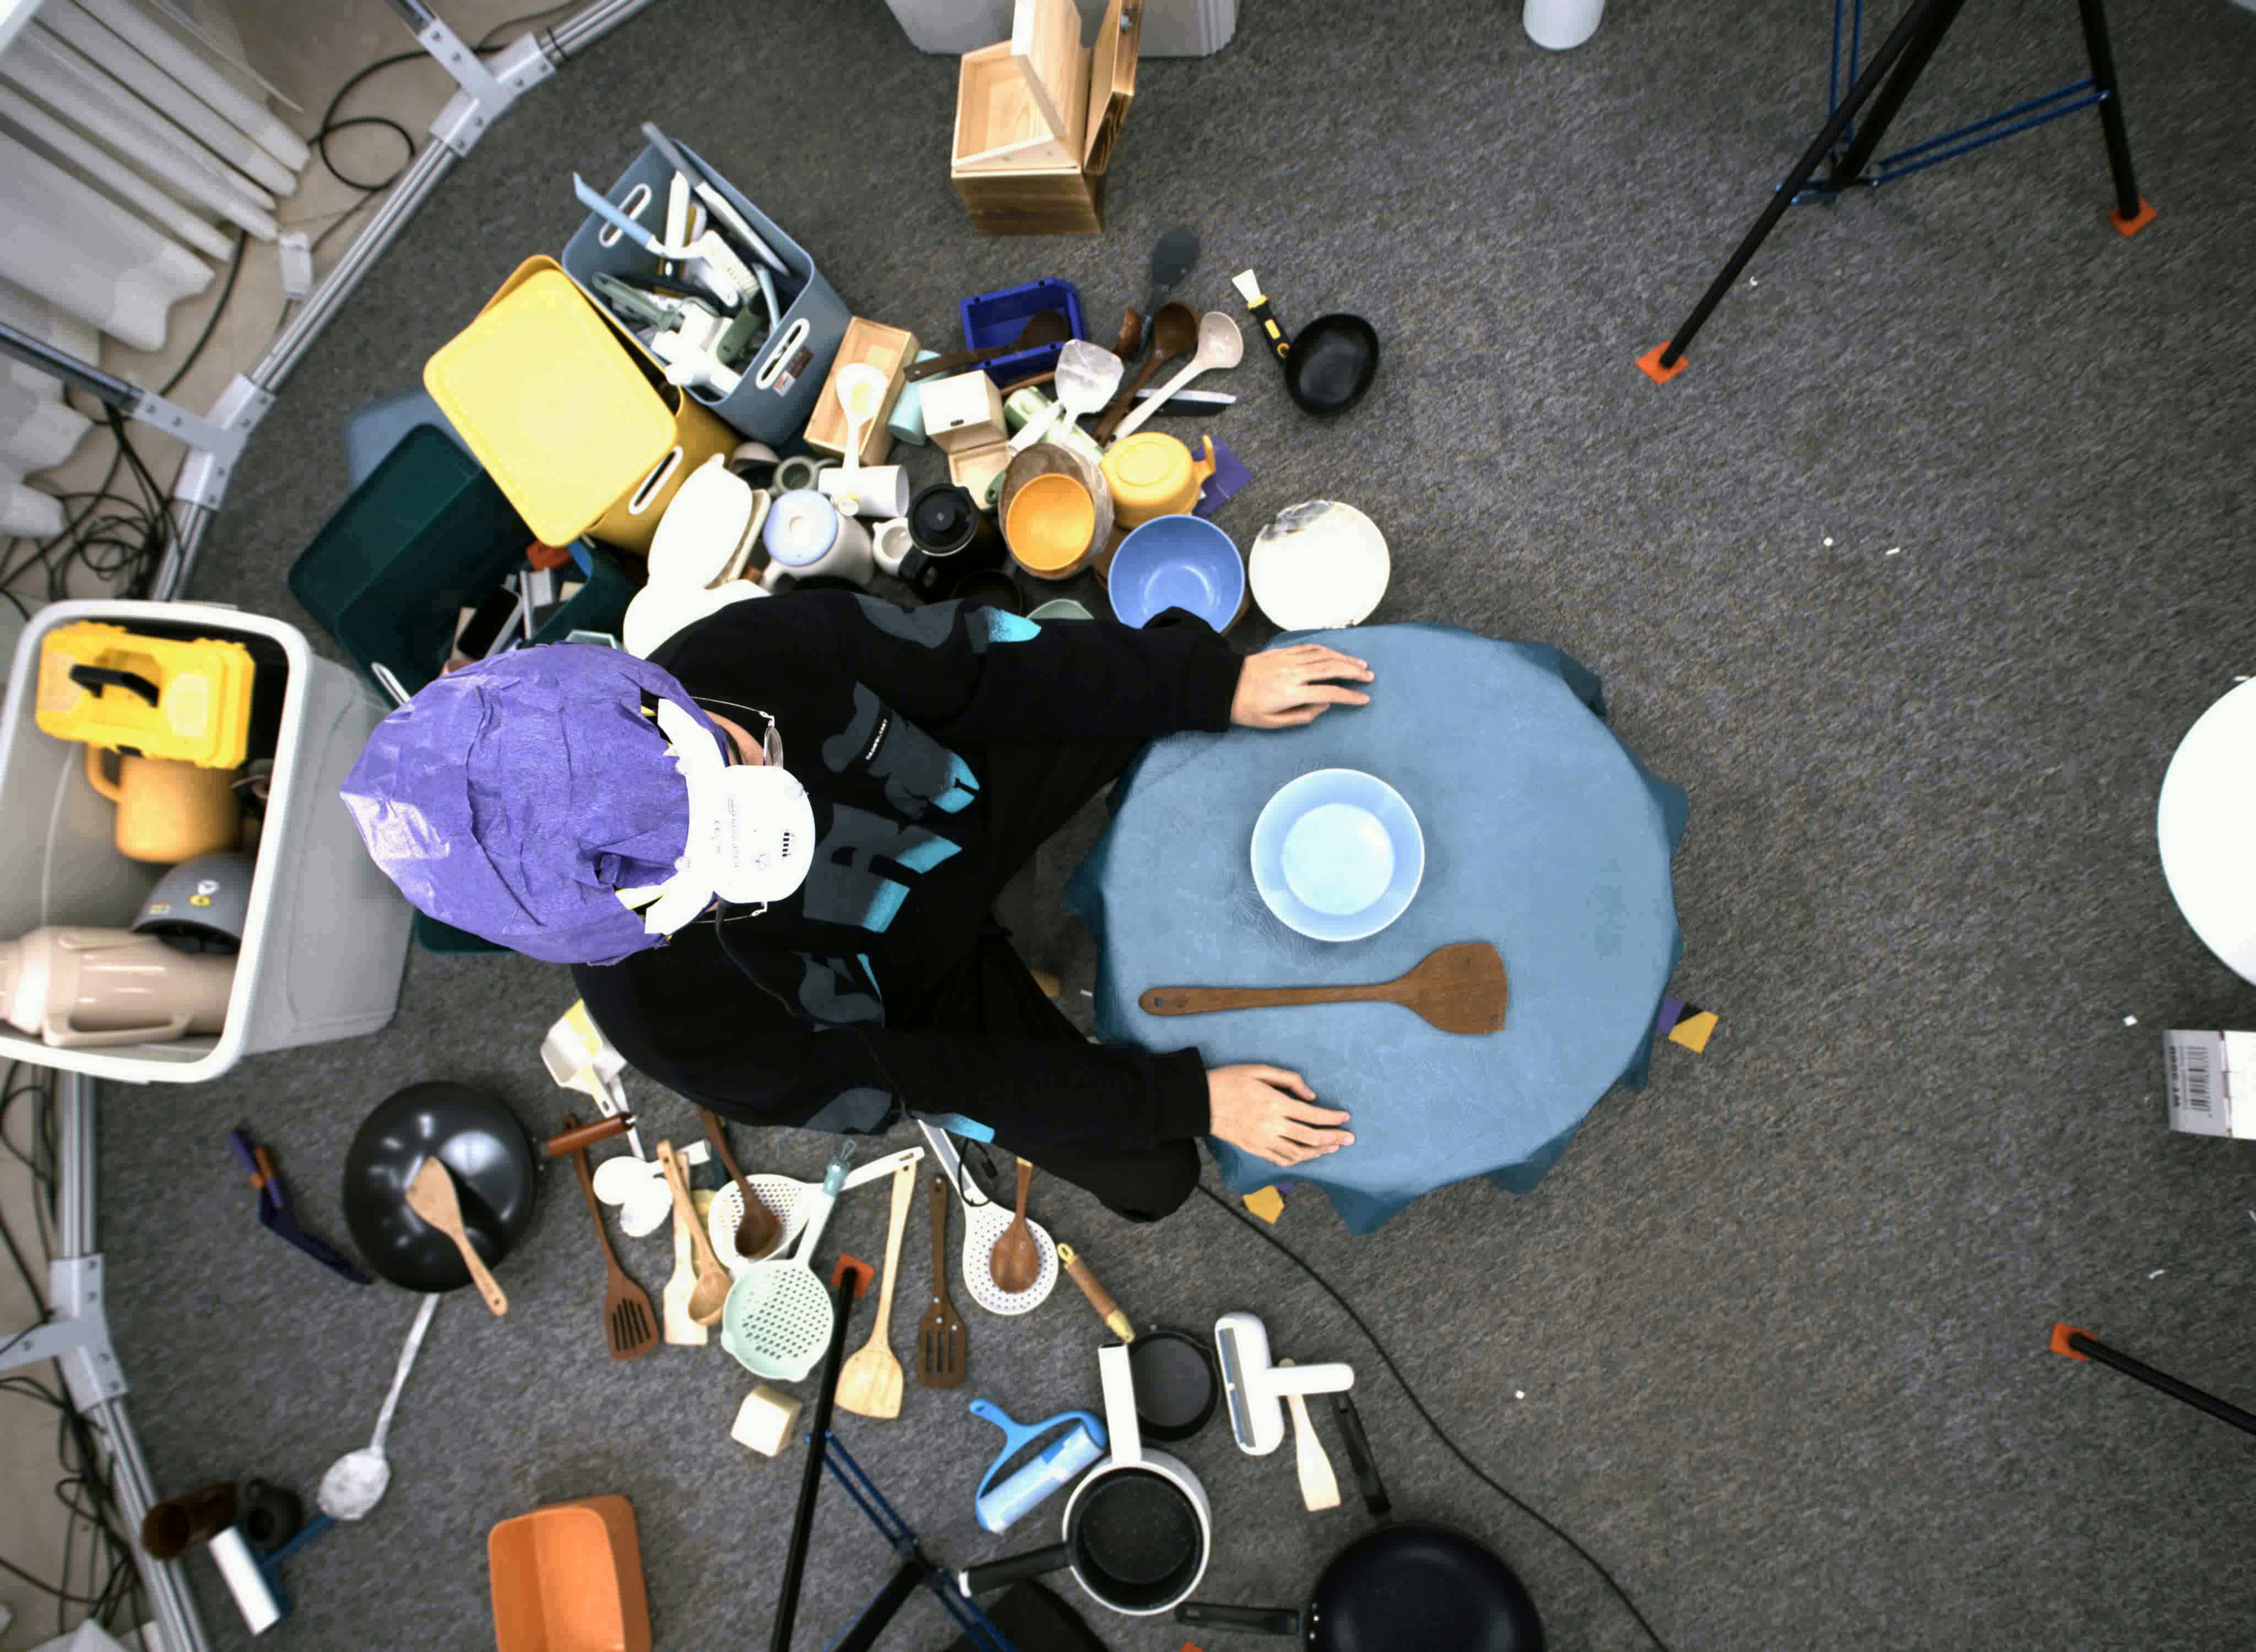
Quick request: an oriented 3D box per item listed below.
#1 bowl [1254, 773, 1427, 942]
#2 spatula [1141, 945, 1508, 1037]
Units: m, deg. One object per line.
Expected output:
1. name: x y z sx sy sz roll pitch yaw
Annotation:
1. bowl: 0.222 0.034 1.441 0.177 0.070 0.175 -1 86 12
2. spatula: 0.204 0.181 1.462 0.387 0.016 0.095 -4 85 10
